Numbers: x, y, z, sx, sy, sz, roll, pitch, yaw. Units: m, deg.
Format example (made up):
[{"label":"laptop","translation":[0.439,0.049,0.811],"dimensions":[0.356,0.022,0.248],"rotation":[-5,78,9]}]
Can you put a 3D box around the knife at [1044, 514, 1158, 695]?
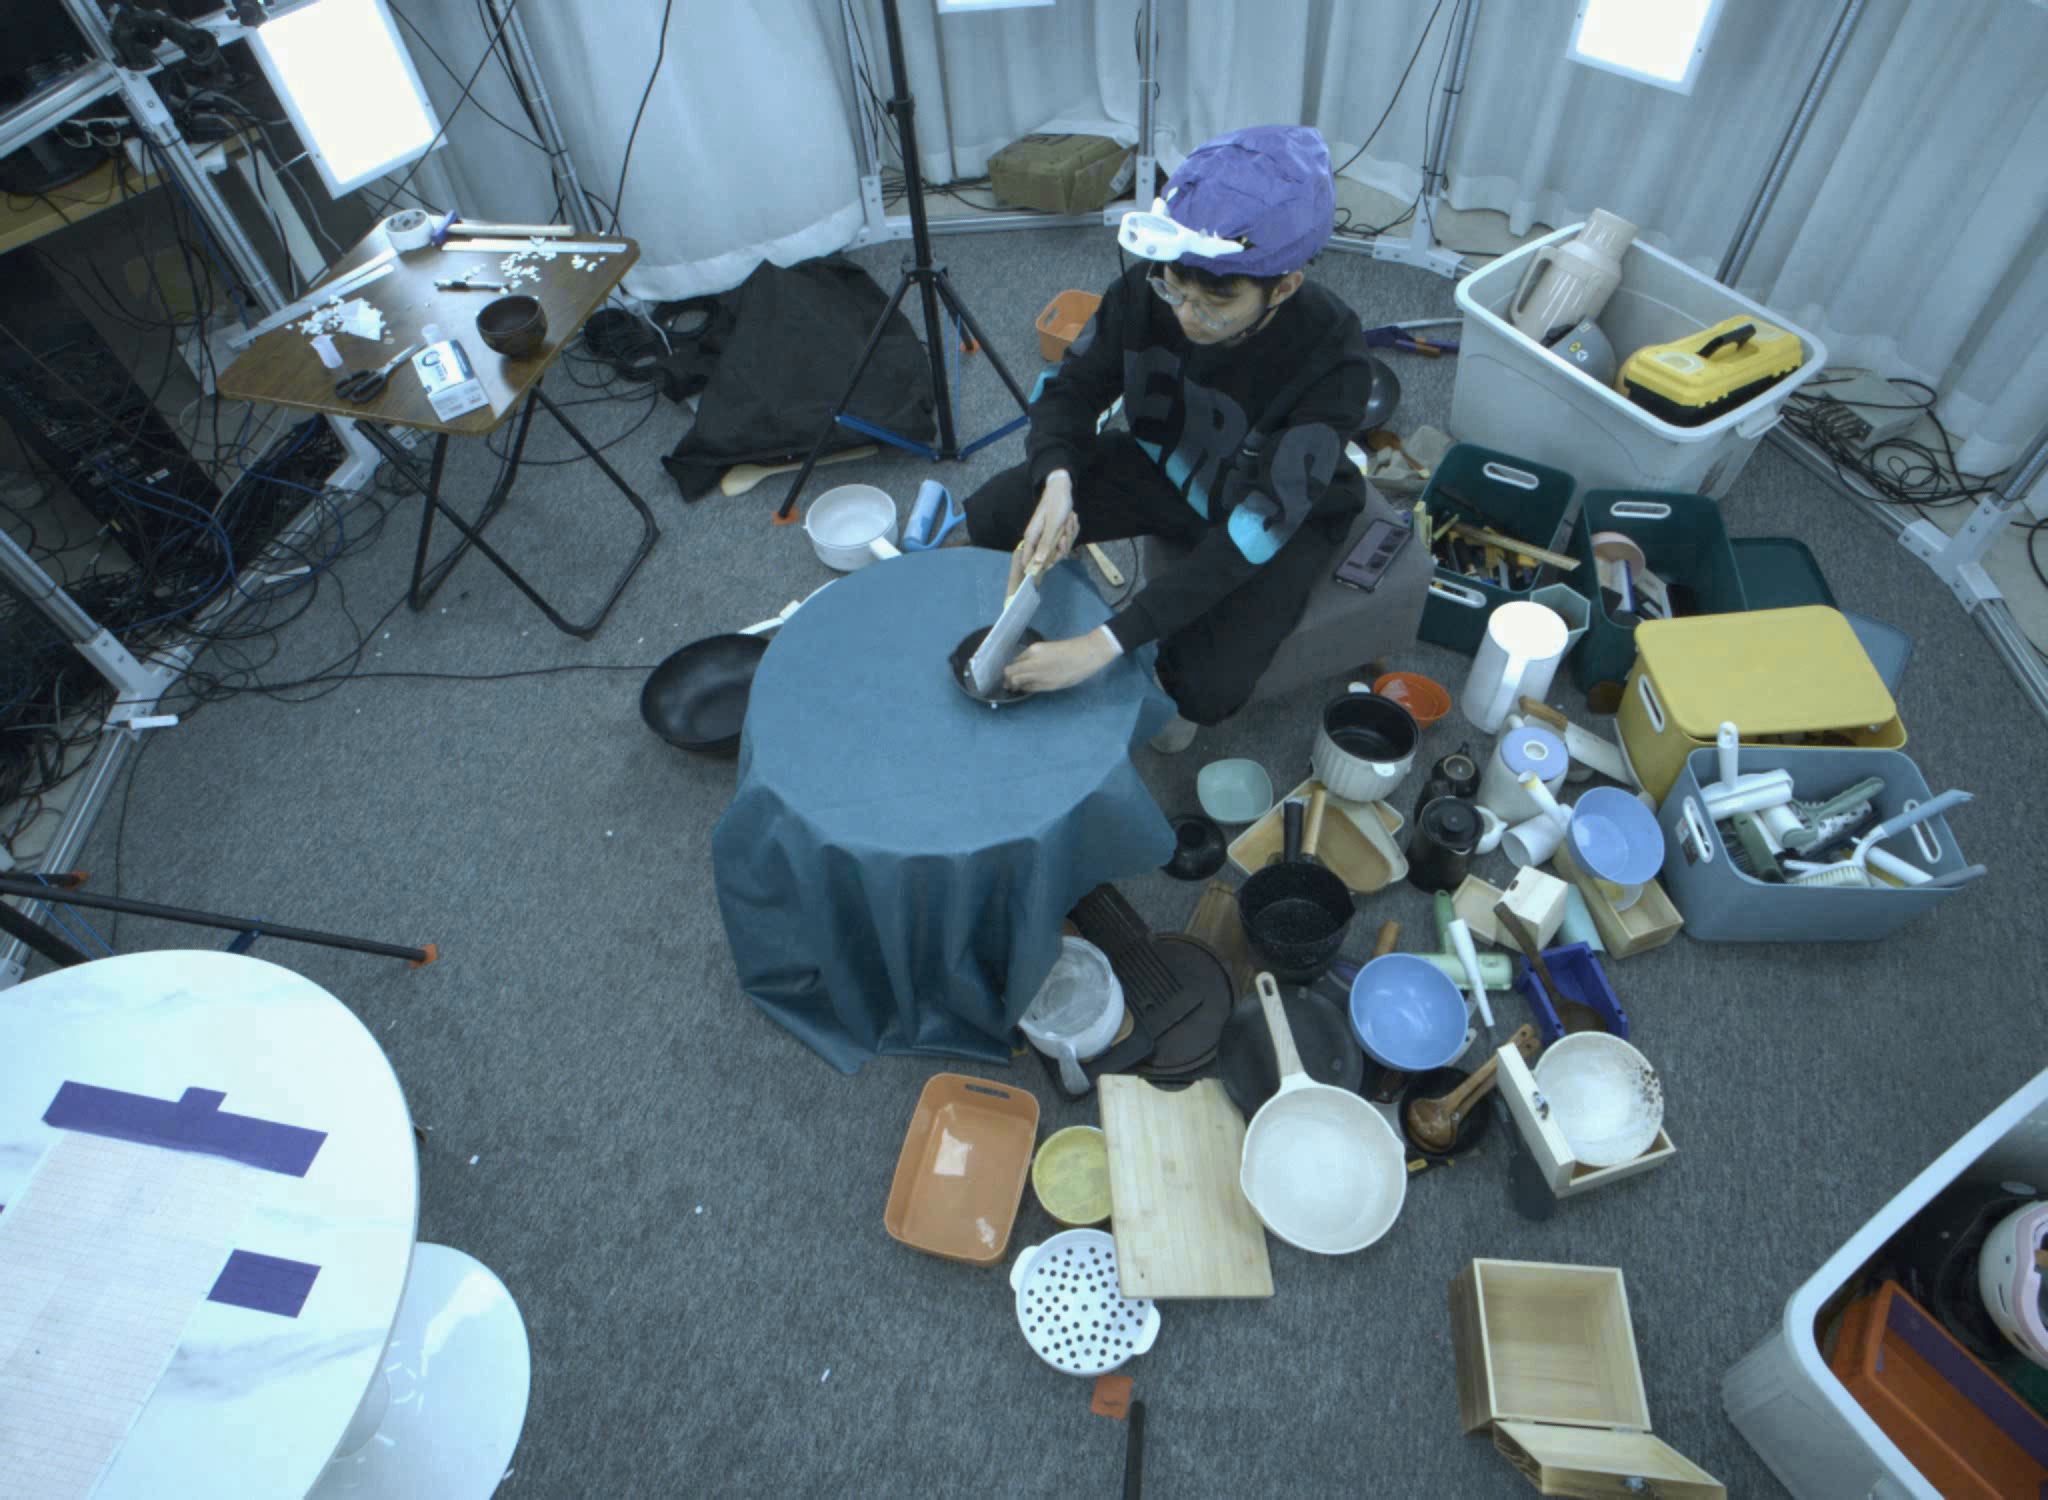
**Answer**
[{"label":"knife","translation":[0.113,-0.222,1.828],"dimensions":[0.021,0.115,0.315],"rotation":[28,77,21]}]

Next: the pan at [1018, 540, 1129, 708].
[{"label":"pan","translation":[0.093,-0.195,1.891],"dimensions":[0.168,0.050,0.322],"rotation":[9,57,9]}]
